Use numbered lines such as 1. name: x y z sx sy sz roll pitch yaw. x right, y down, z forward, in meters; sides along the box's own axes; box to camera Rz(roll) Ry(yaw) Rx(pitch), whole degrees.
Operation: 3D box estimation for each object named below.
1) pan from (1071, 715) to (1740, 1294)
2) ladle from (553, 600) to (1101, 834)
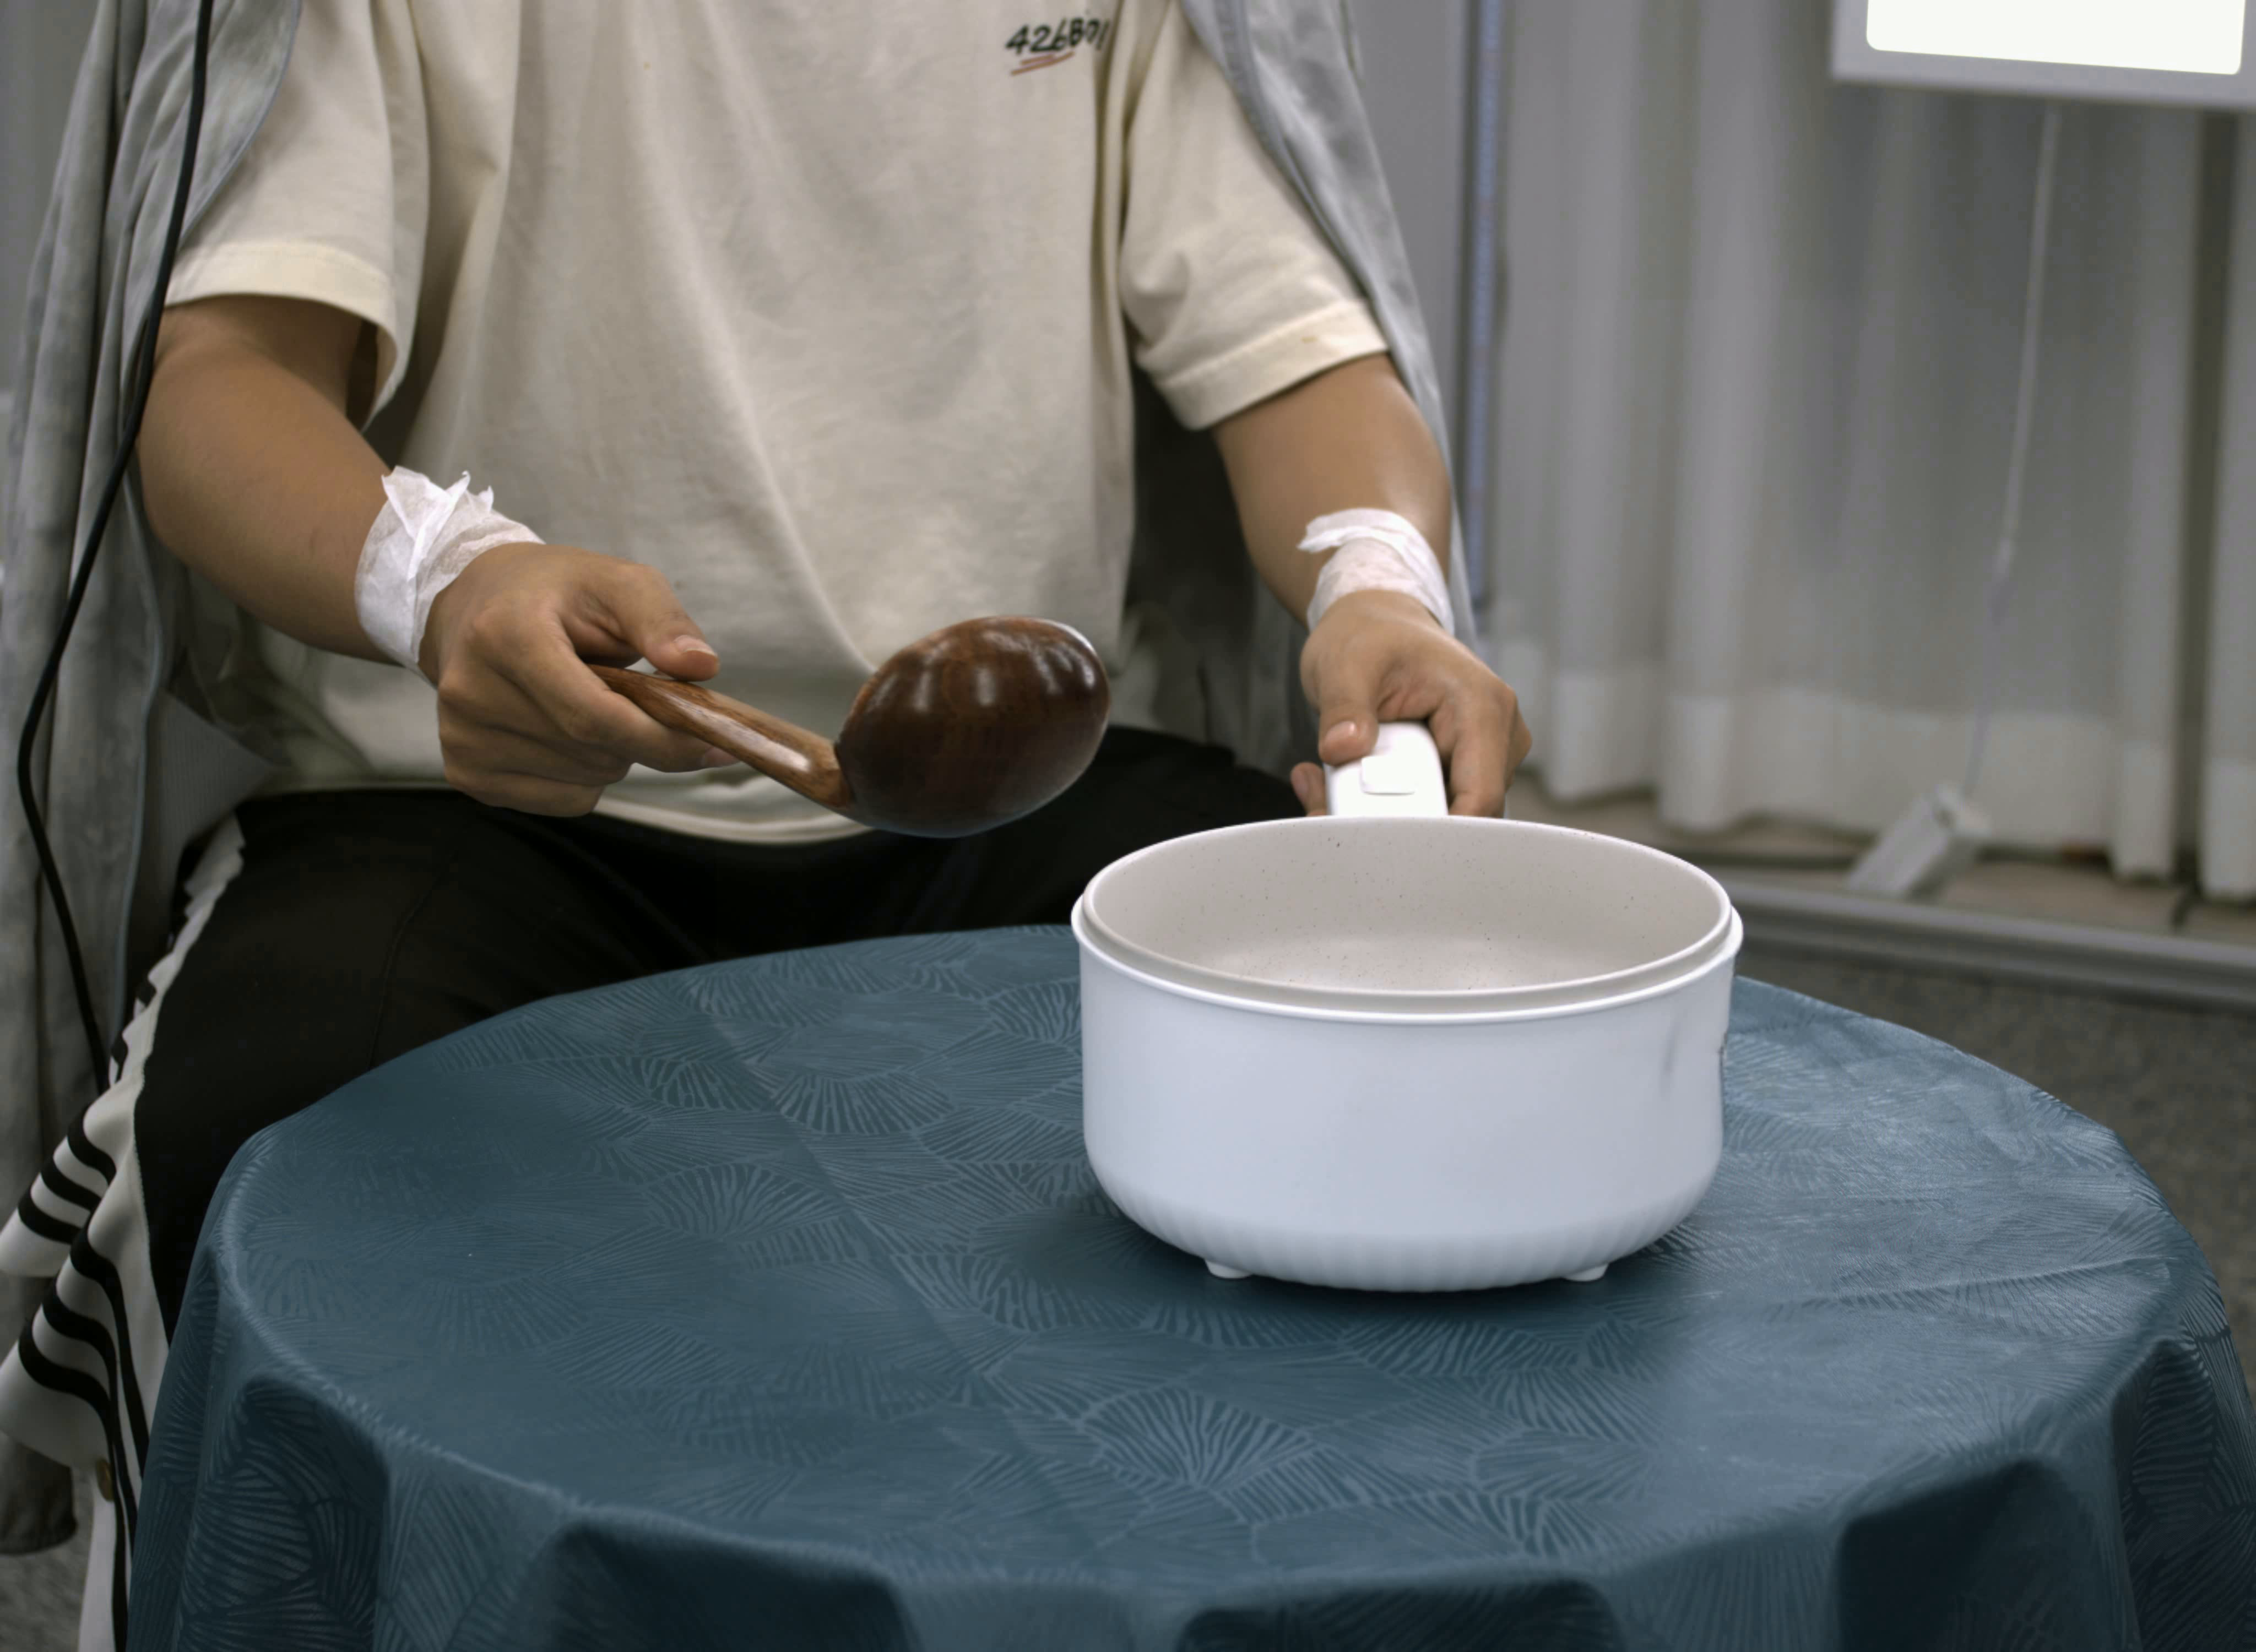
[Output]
1. pan: 0.085 0.052 1.666 0.200 0.103 0.353 0 15 1
2. ladle: -0.102 -0.051 1.587 0.082 0.077 0.270 17 3 -34
